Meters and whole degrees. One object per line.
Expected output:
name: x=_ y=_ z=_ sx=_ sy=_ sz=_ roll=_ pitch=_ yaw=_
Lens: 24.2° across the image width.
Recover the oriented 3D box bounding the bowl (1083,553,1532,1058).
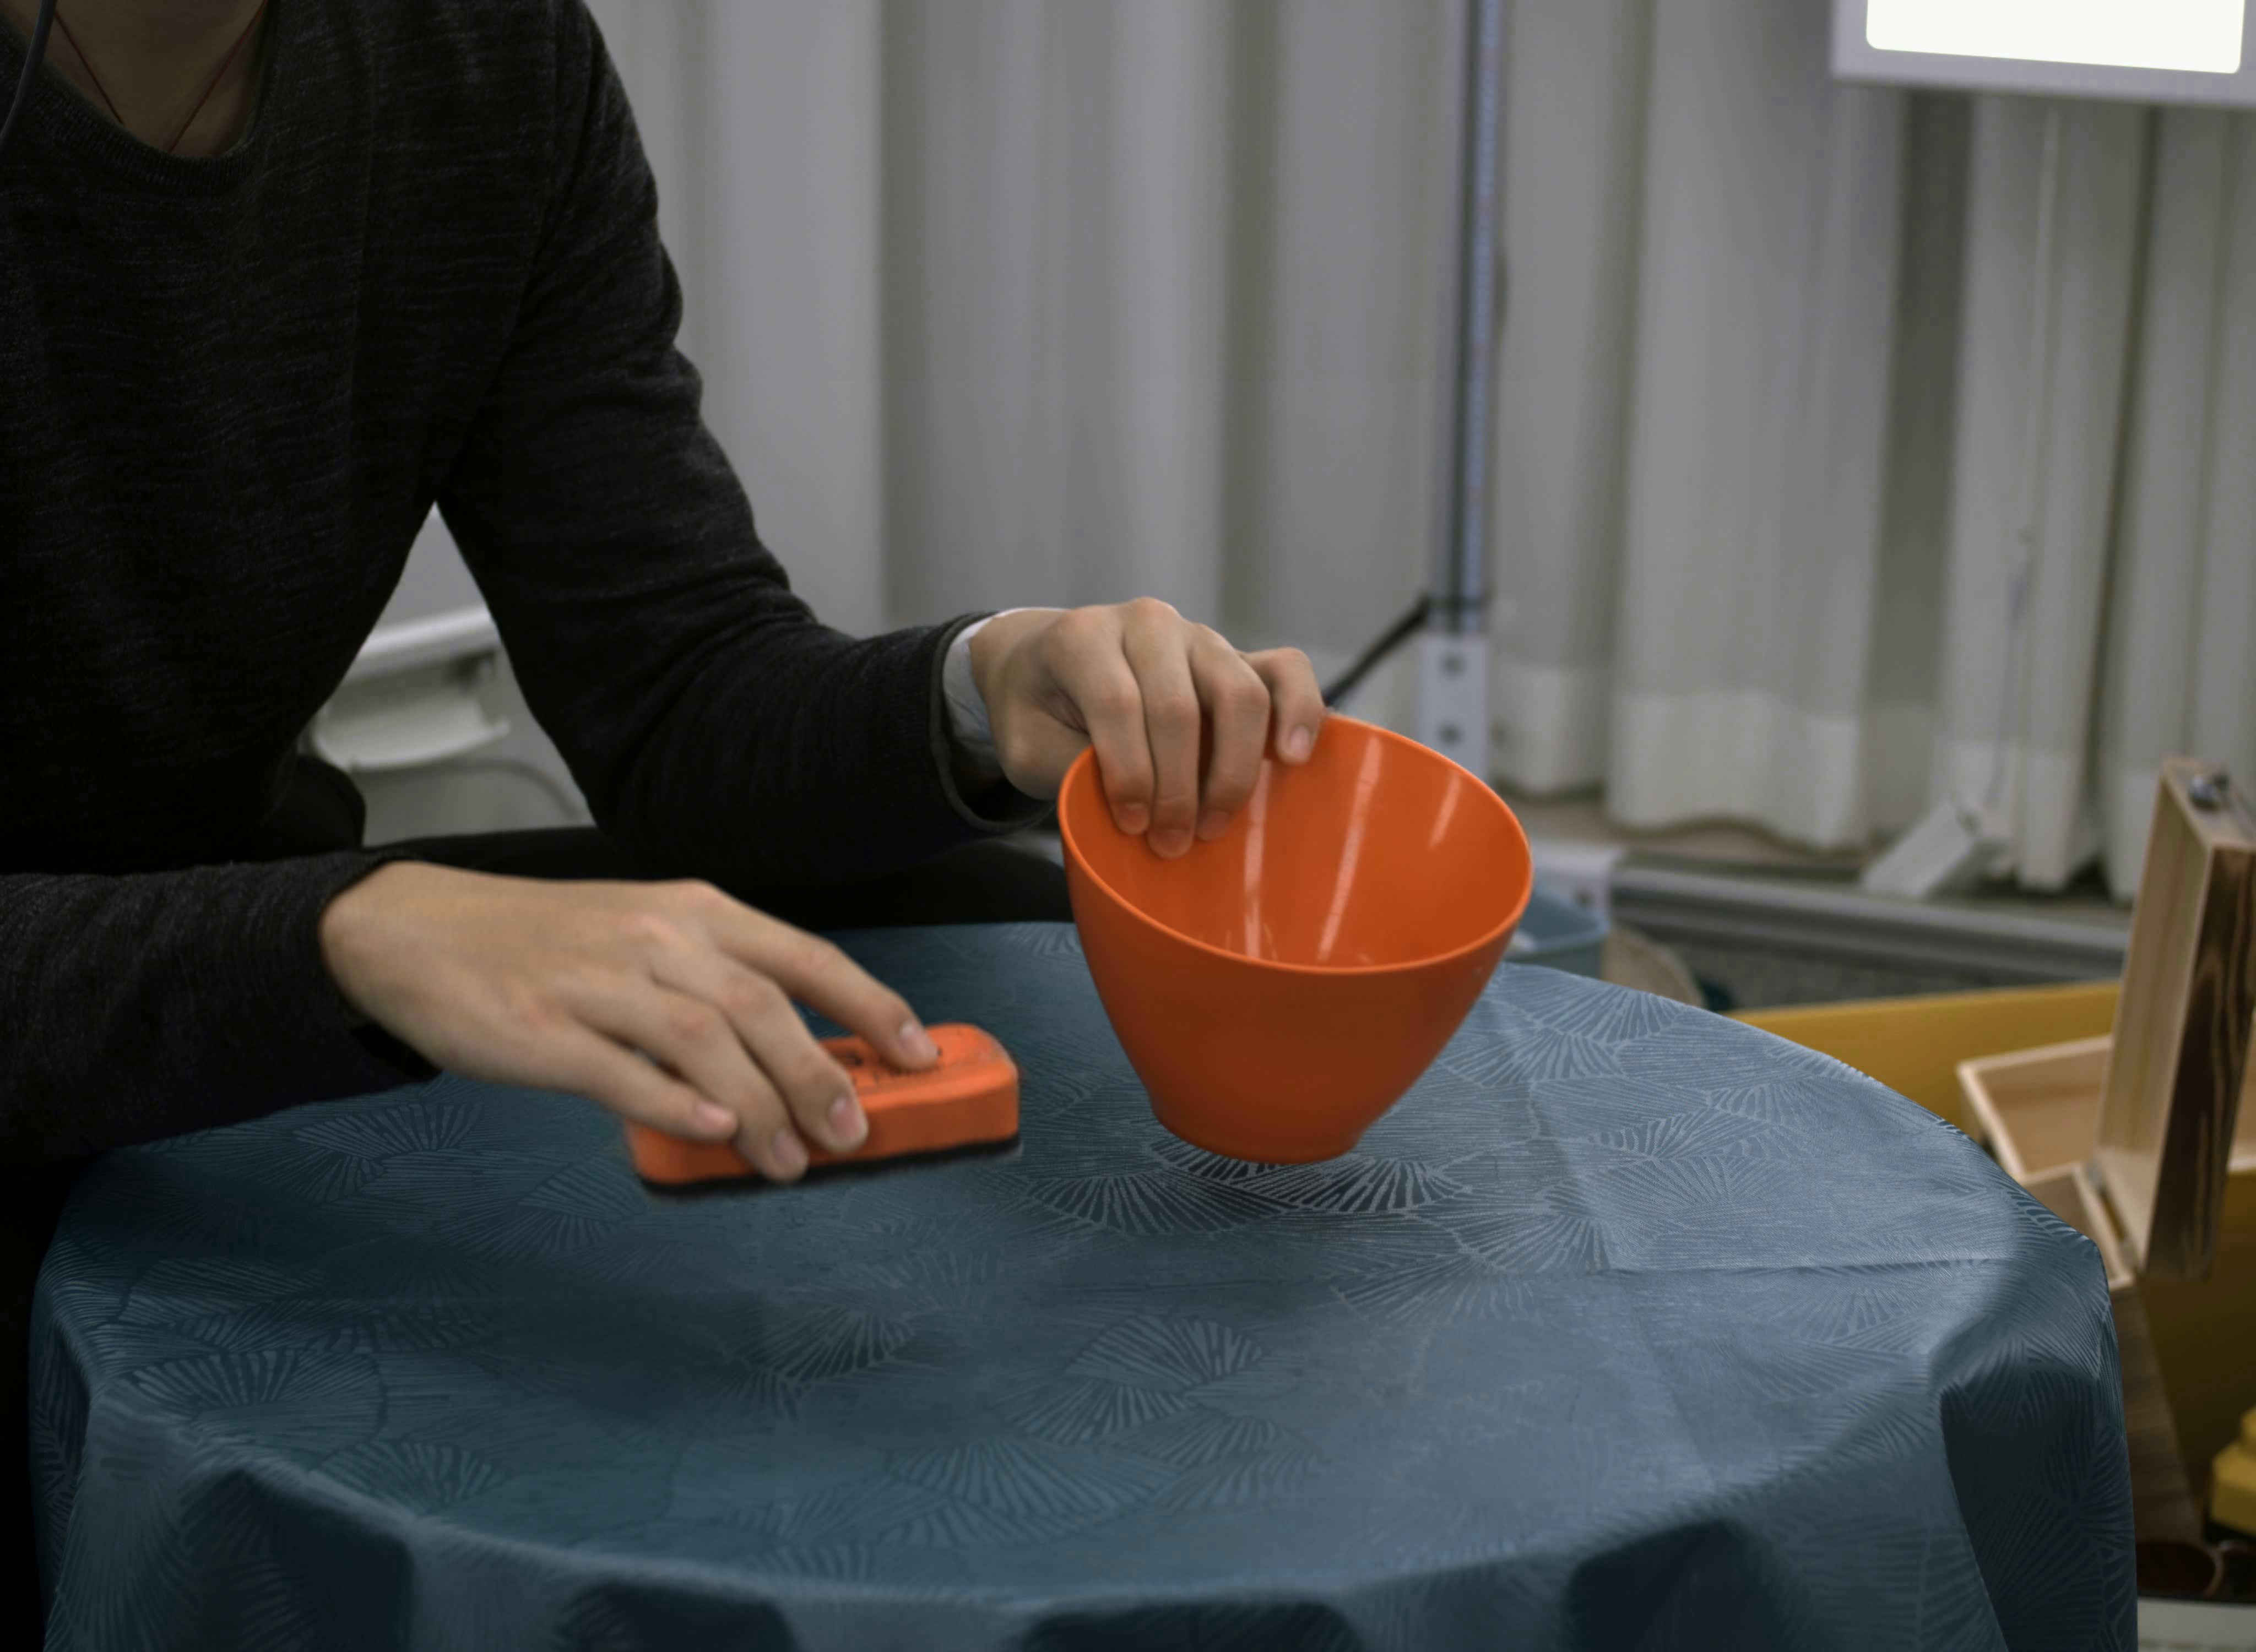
bowl: x=0.041 y=0.005 z=1.605 sx=0.149 sy=0.105 sz=0.147 roll=30 pitch=30 yaw=-19

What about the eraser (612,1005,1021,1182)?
eraser: x=-0.087 y=0.074 z=1.465 sx=0.108 sy=0.023 sz=0.058 roll=-6 pitch=20 yaw=-18
